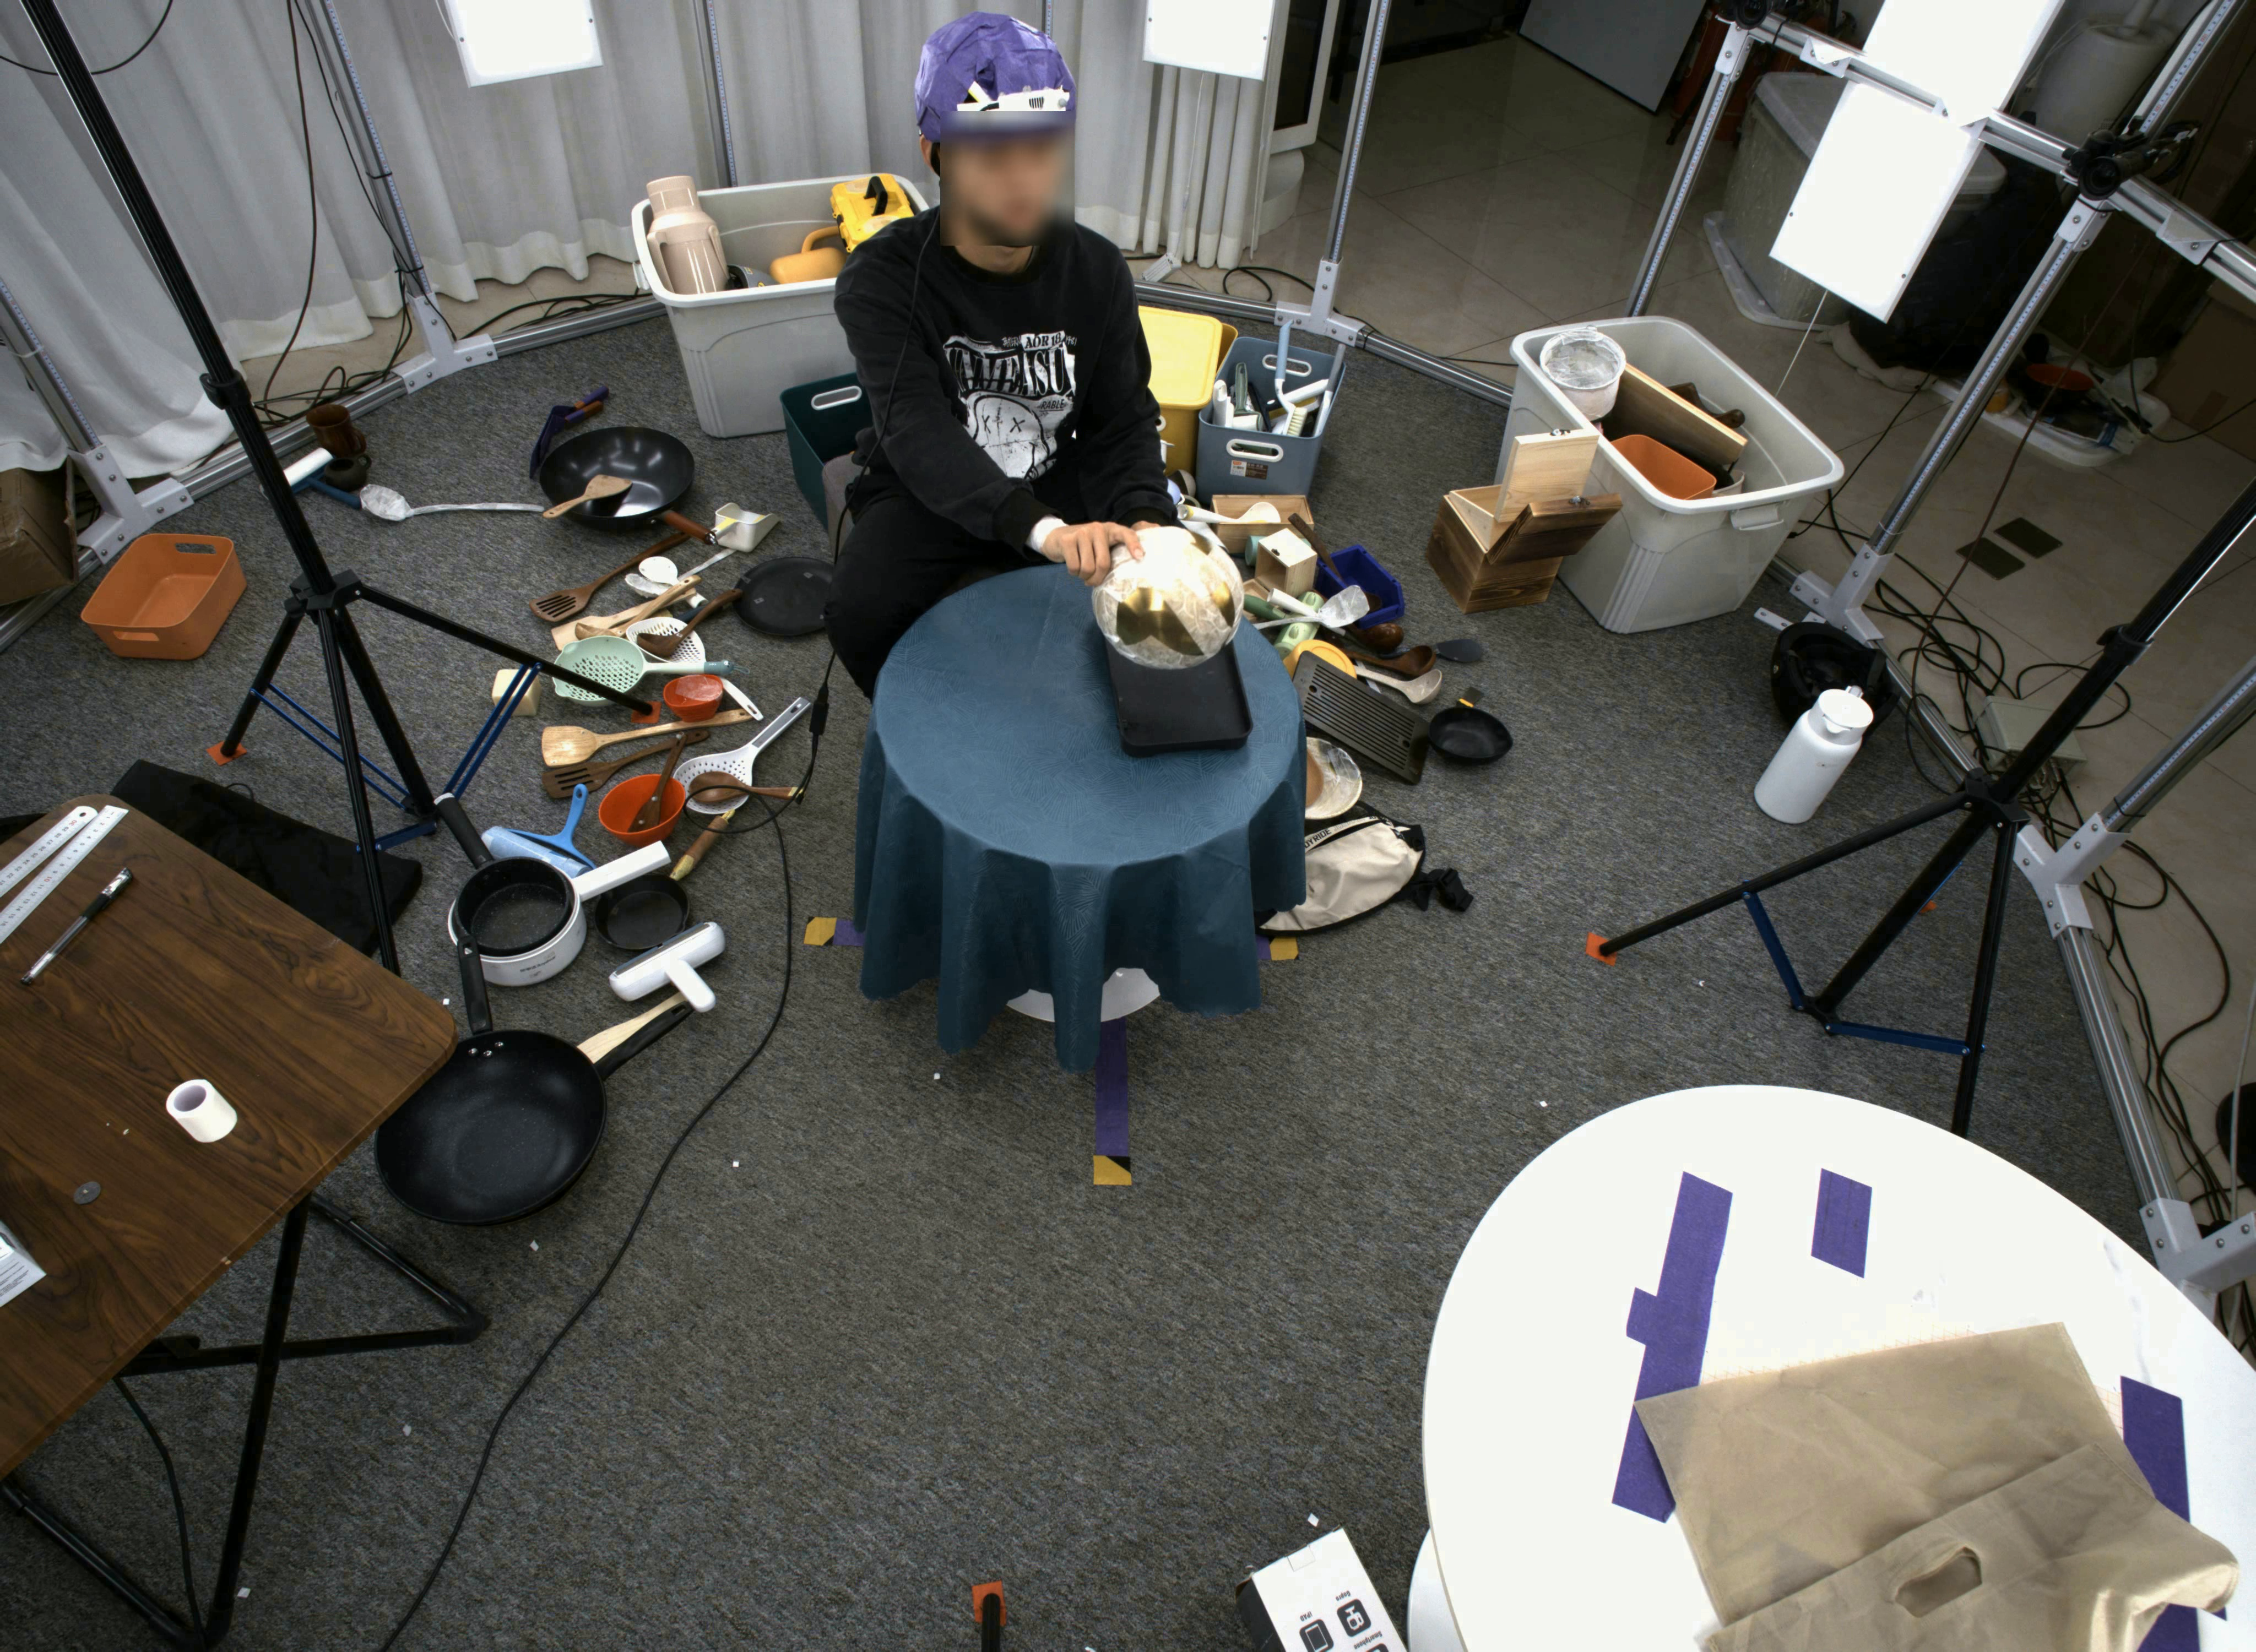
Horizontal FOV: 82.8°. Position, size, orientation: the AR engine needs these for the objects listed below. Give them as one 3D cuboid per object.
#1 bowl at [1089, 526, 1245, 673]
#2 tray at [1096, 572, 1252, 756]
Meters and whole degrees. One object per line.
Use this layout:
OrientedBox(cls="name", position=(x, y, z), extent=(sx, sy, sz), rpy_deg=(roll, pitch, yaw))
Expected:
OrientedBox(cls="bowl", position=(0.044, -0.276, 1.685), extent=(0.215, 0.209, 0.097), rpy_deg=(11, 41, 5))
OrientedBox(cls="tray", position=(0.061, -0.244, 1.839), extent=(0.184, 0.036, 0.325), rpy_deg=(-5, 58, -6))
